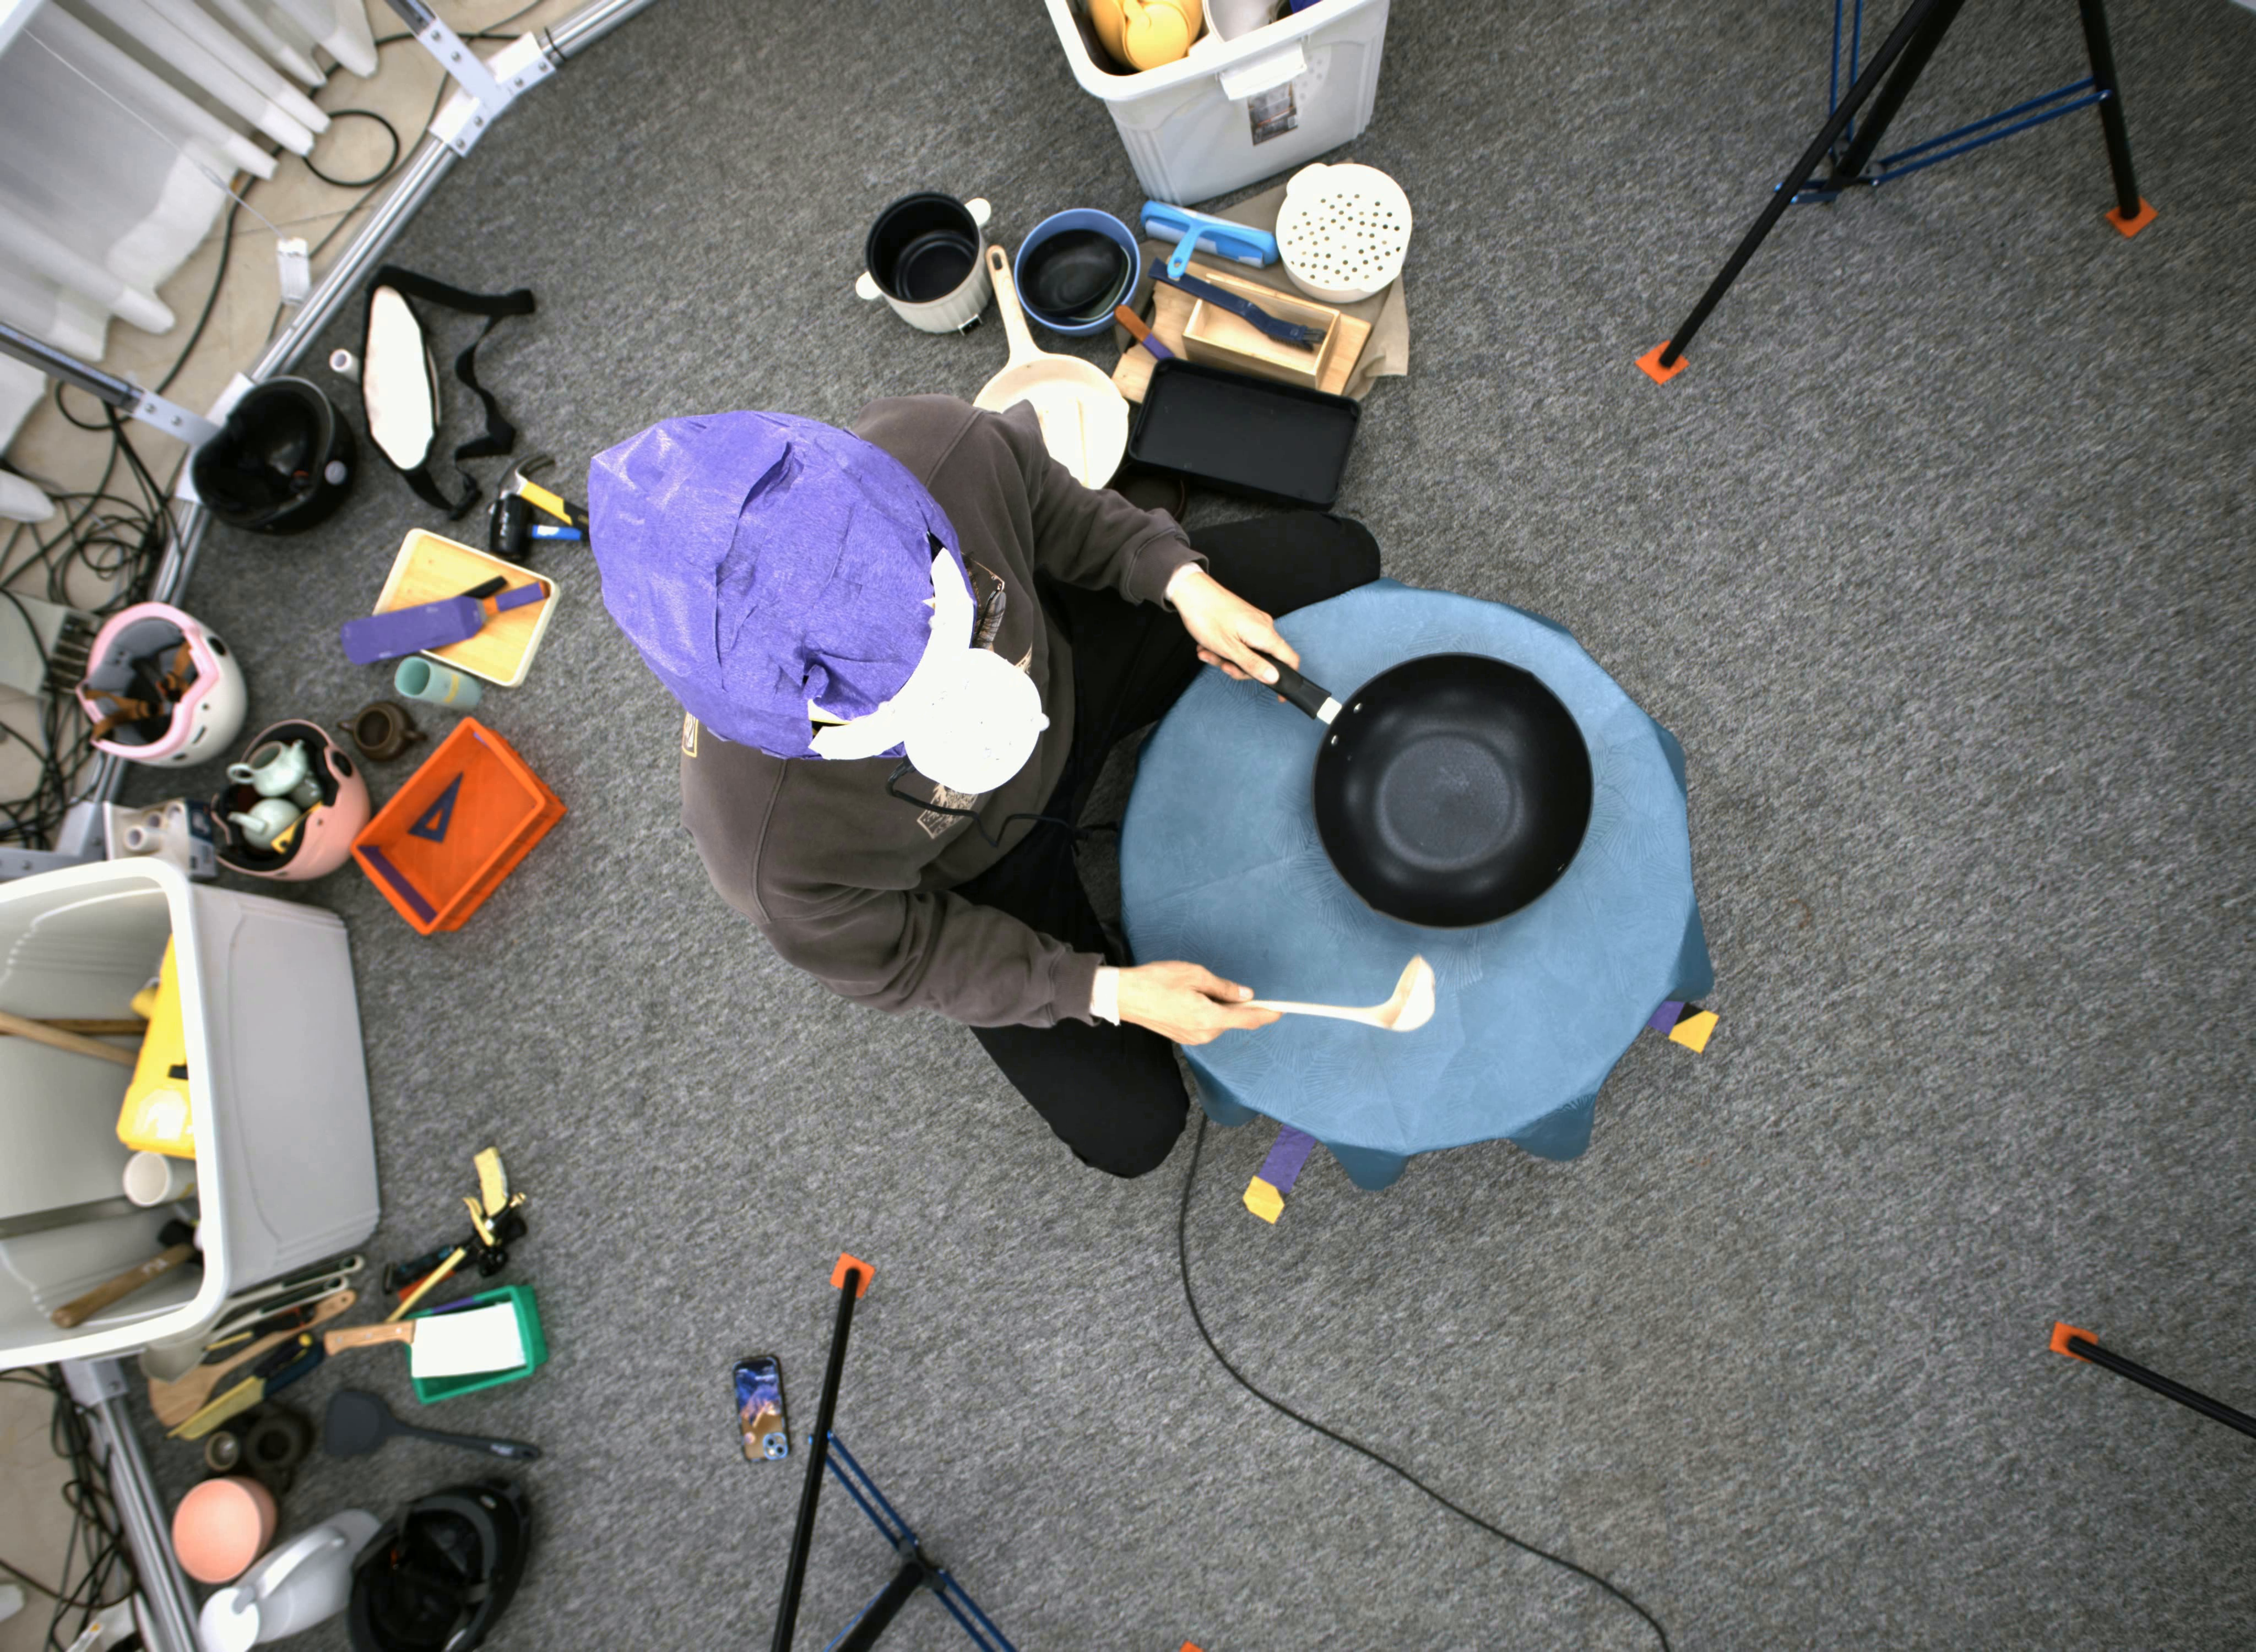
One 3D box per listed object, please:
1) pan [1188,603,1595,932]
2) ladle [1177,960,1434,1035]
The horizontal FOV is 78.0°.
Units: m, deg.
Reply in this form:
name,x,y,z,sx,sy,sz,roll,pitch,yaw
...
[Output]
name,x,y,z,sx,sy,sz,roll,pitch,yaw
pan,0.255,-0.084,1.425,0.462,0.087,0.289,35,94,11
ladle,0.170,0.162,1.352,0.255,0.070,0.074,1,131,13
